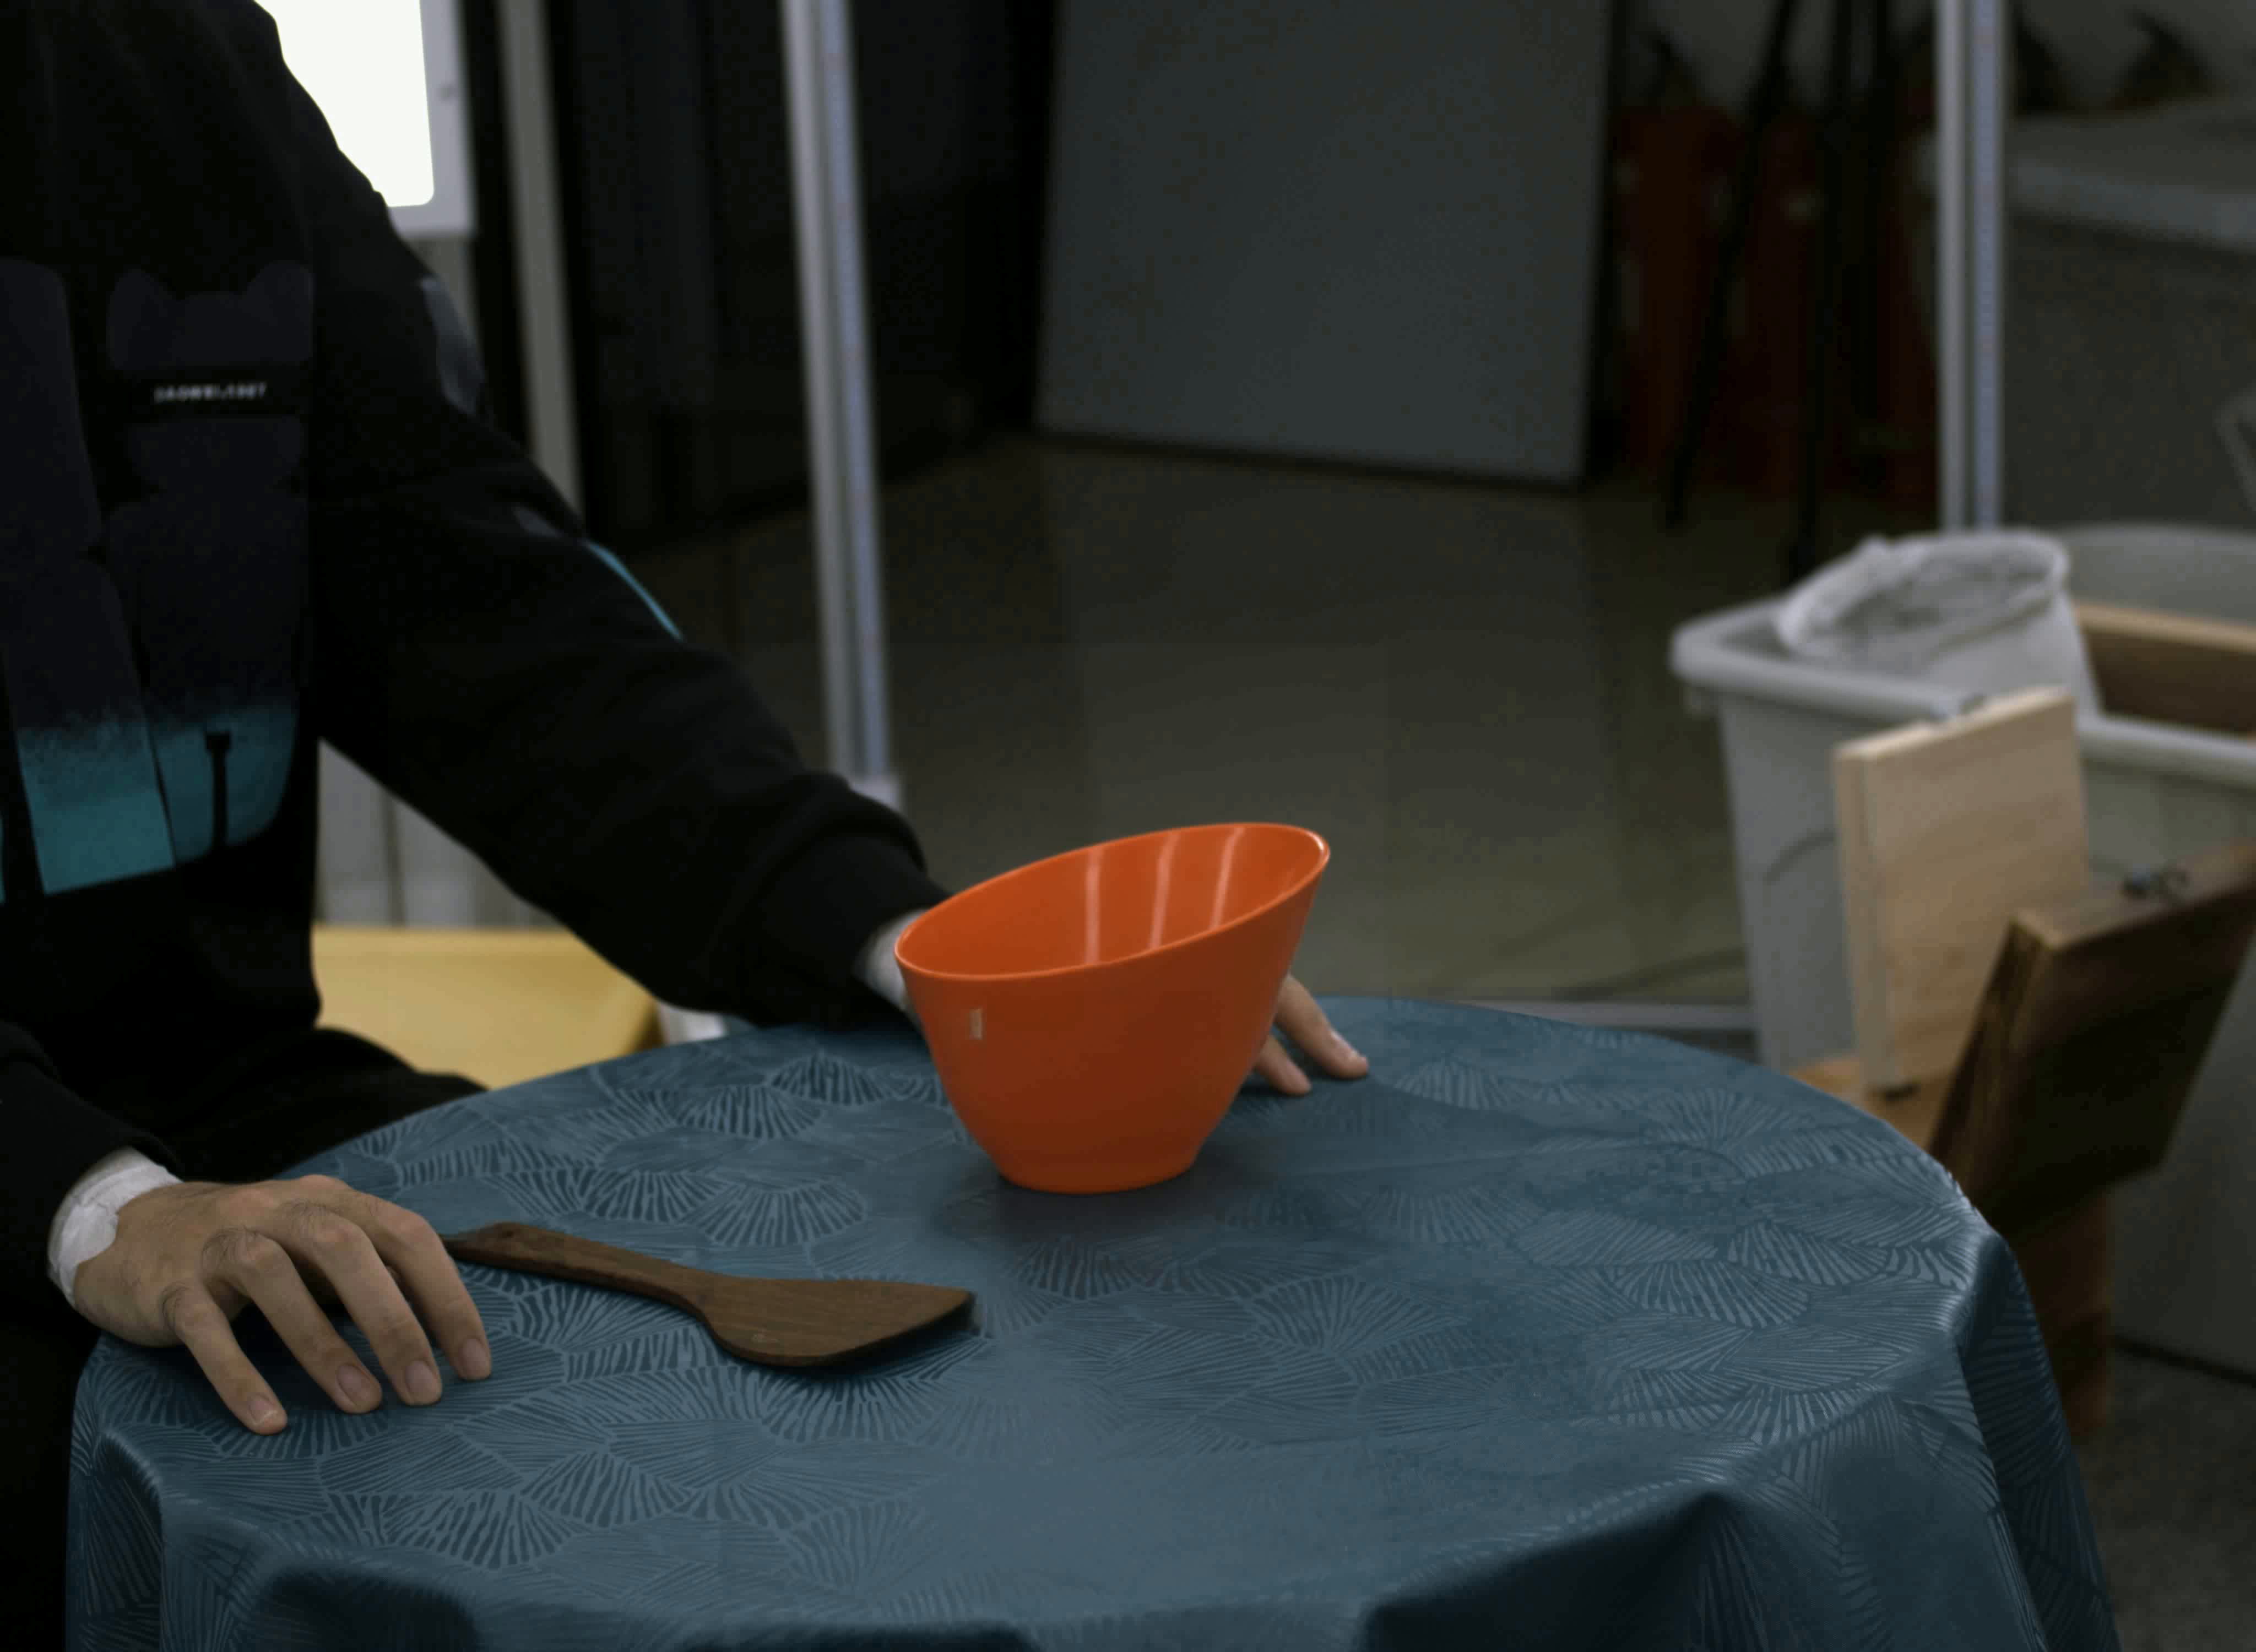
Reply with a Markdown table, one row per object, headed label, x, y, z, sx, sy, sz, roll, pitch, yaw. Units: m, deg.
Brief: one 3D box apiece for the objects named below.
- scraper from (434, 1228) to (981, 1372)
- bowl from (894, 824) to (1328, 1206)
| label | x | y | z | sx | sy | sz | roll | pitch | yaw |
| --- | --- | --- | --- | --- | --- | --- | --- | --- | --- |
| scraper | -0.140 | 0.146 | 1.697 | 0.213 | 0.011 | 0.074 | 7 | 17 | 41 |
| bowl | -0.002 | 0.065 | 1.789 | 0.146 | 0.106 | 0.148 | -5 | 15 | 1 |
